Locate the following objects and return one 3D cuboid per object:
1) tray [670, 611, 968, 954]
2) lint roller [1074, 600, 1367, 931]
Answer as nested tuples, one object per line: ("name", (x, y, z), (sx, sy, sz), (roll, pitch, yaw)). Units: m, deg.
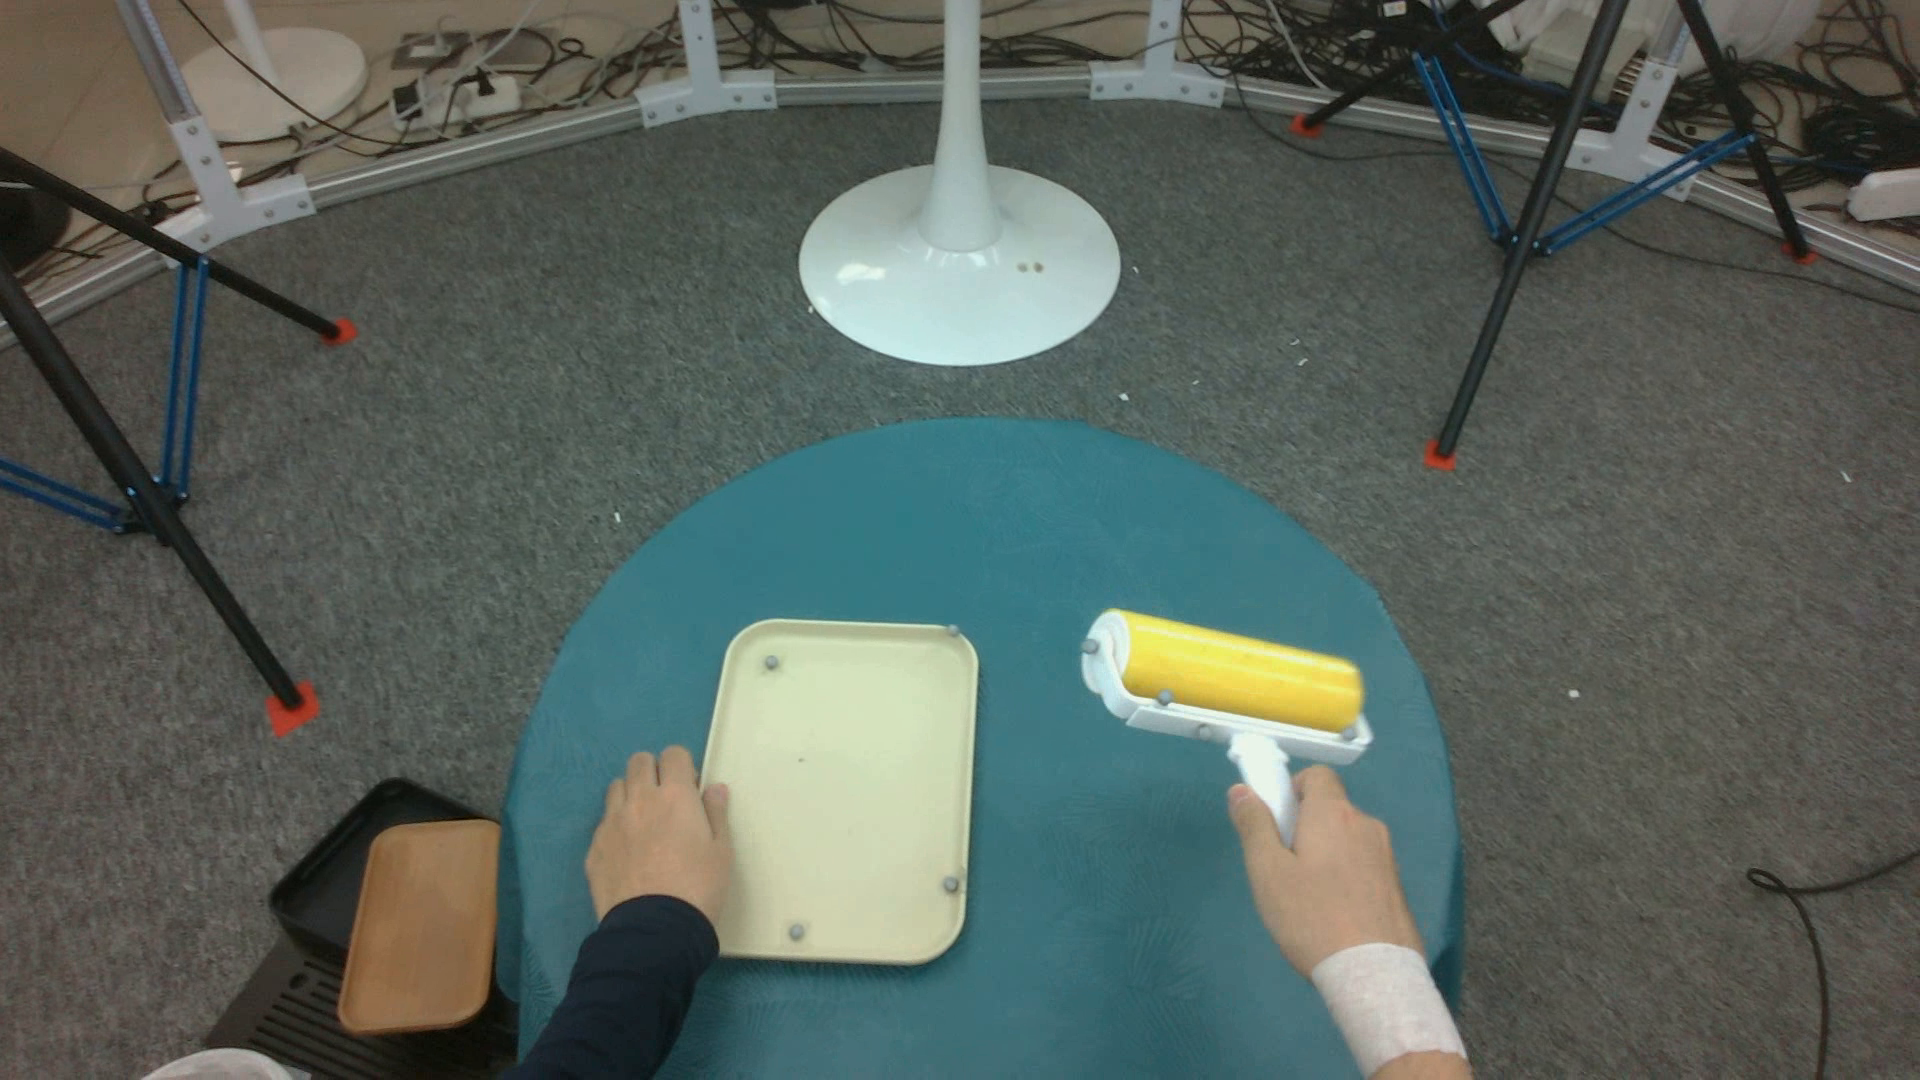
("tray", (-0.082, 0.145, 0.862), (0.171, 0.017, 0.241), (2, 50, 1))
("lint roller", (0.164, 0.111, 0.714), (0.174, 0.051, 0.192), (10, 31, -26))
